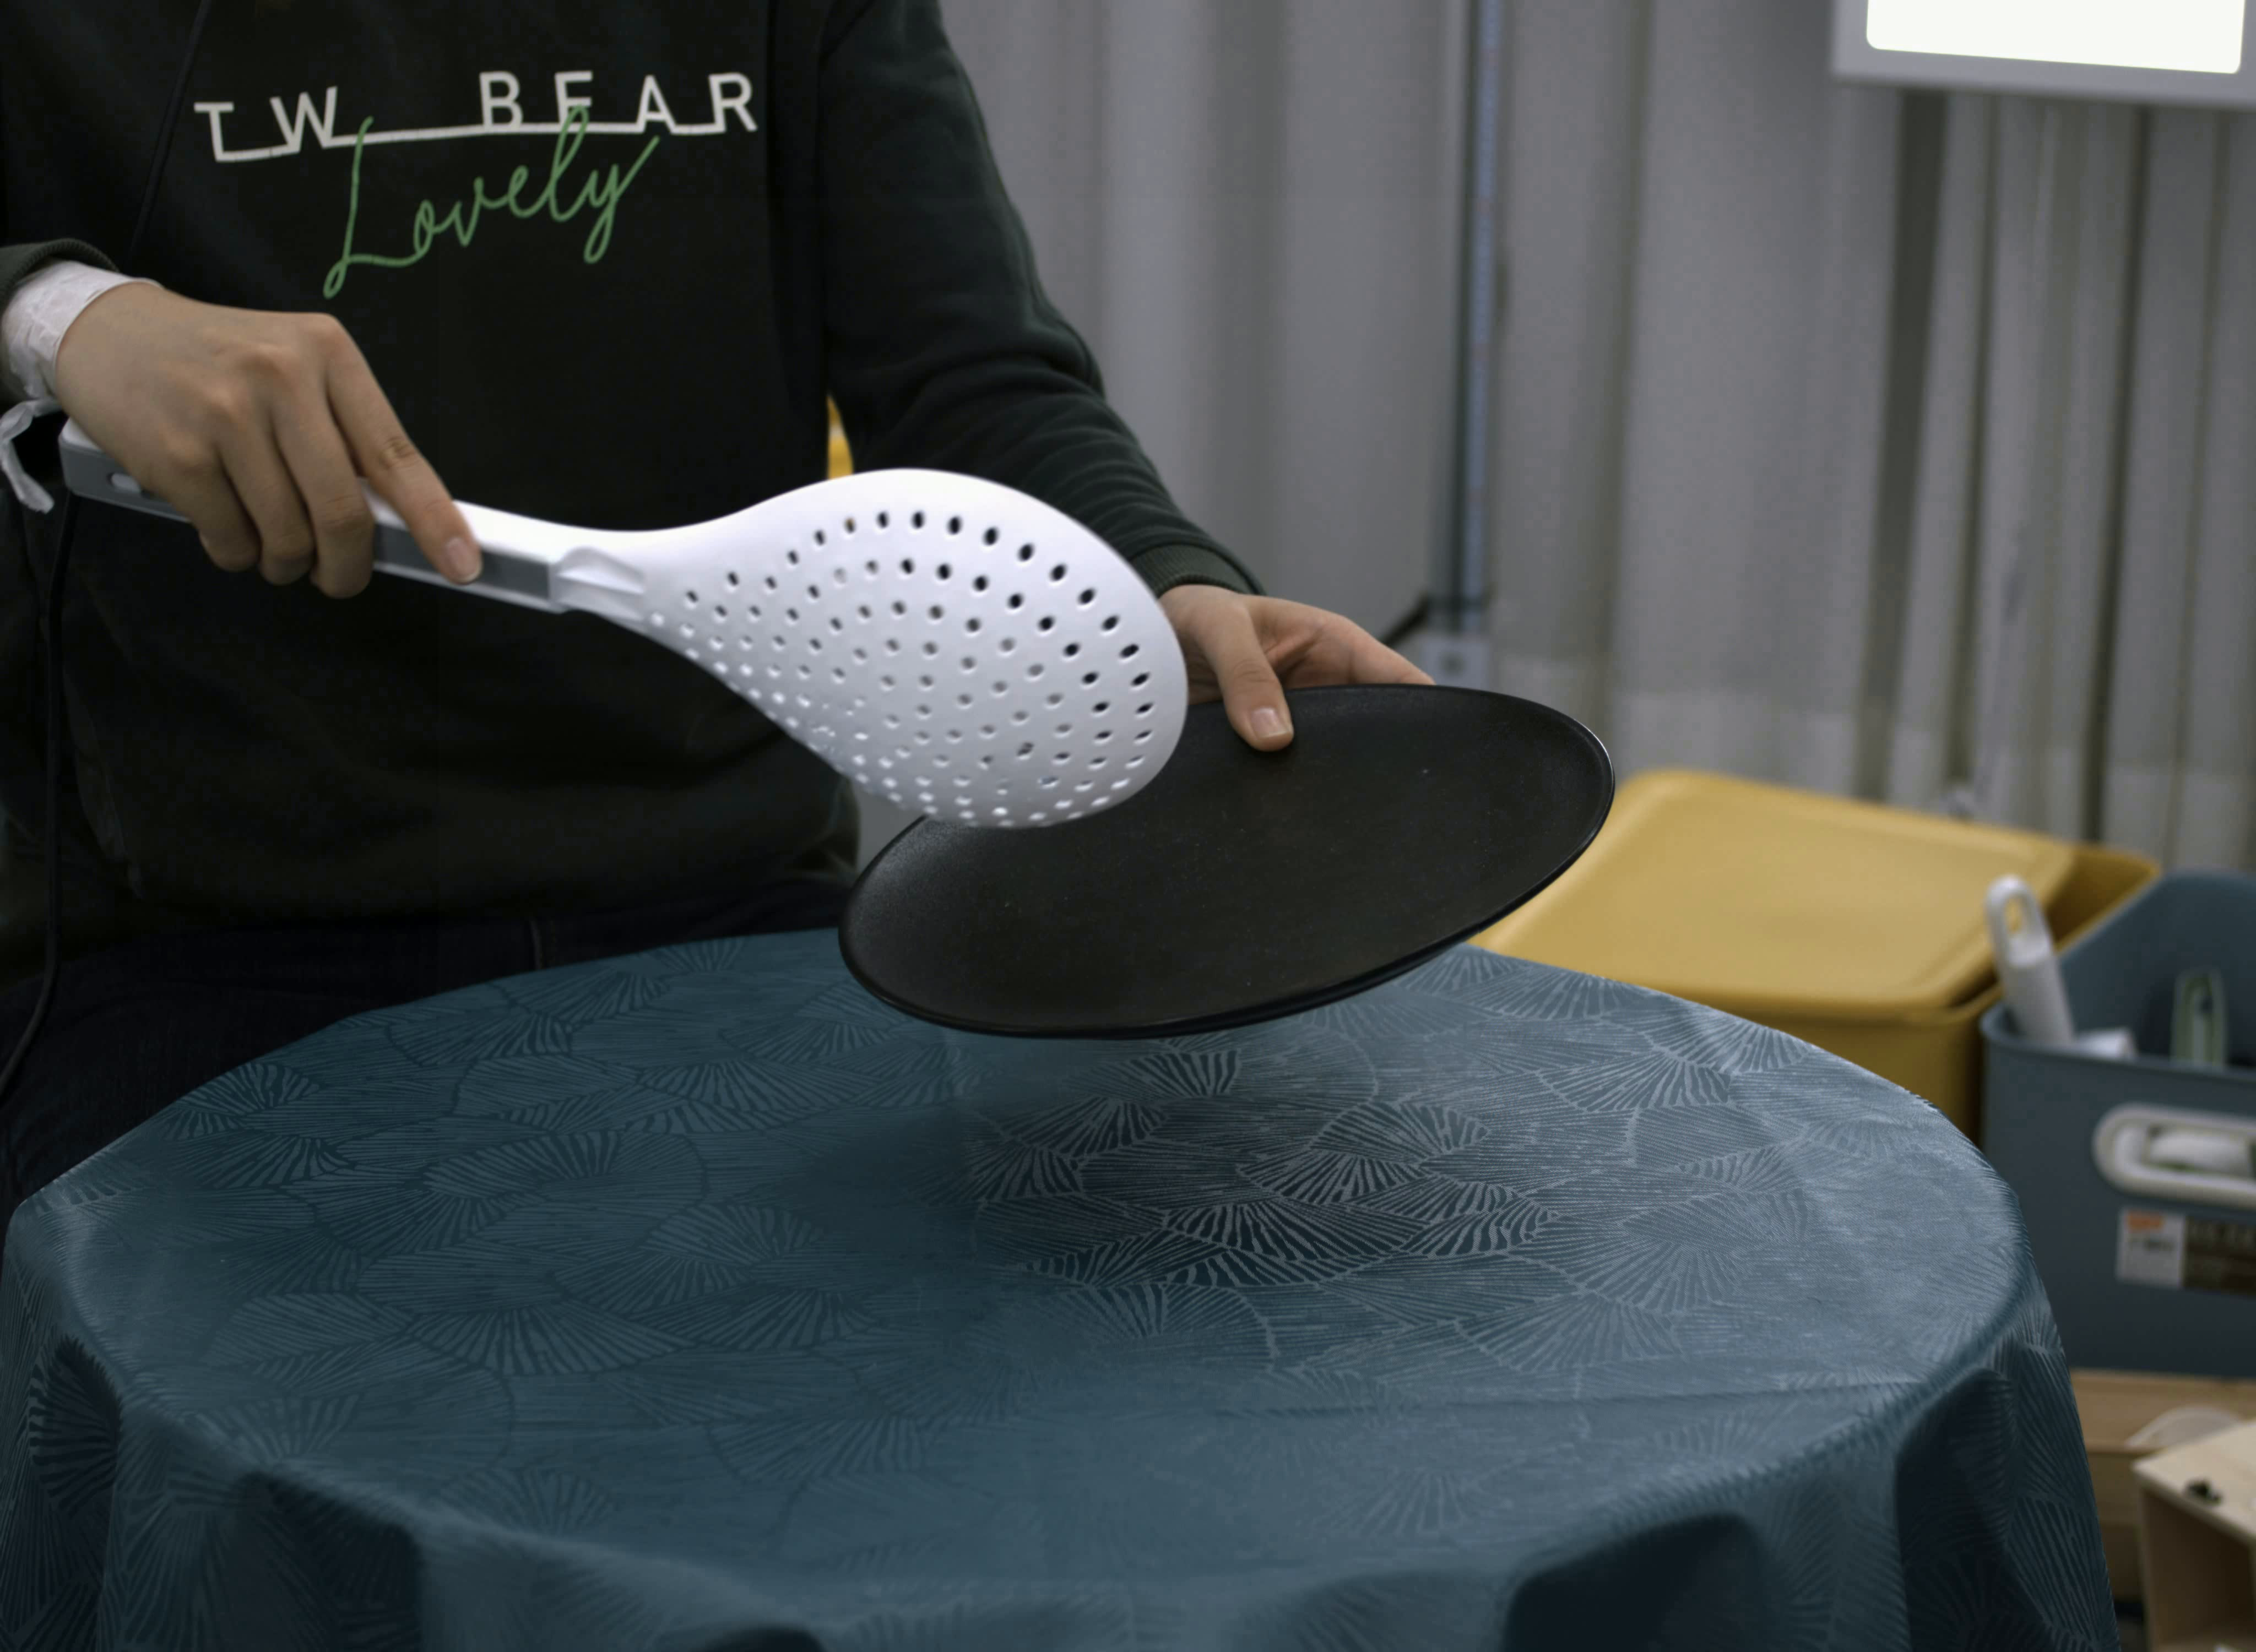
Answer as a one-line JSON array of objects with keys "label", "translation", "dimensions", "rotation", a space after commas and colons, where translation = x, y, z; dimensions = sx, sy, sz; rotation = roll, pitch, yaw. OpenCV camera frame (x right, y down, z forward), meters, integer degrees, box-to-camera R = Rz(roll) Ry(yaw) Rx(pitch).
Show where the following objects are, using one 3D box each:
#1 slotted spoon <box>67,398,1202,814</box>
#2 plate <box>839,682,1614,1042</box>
[{"label": "slotted spoon", "translation": [-0.149, -0.077, 1.556], "dimensions": [0.347, 0.137, 0.045], "rotation": [17, 46, 11]}, {"label": "plate", "translation": [0.032, 0.014, 1.619], "dimensions": [0.243, 0.024, 0.242], "rotation": [-11, 23, 5]}]
